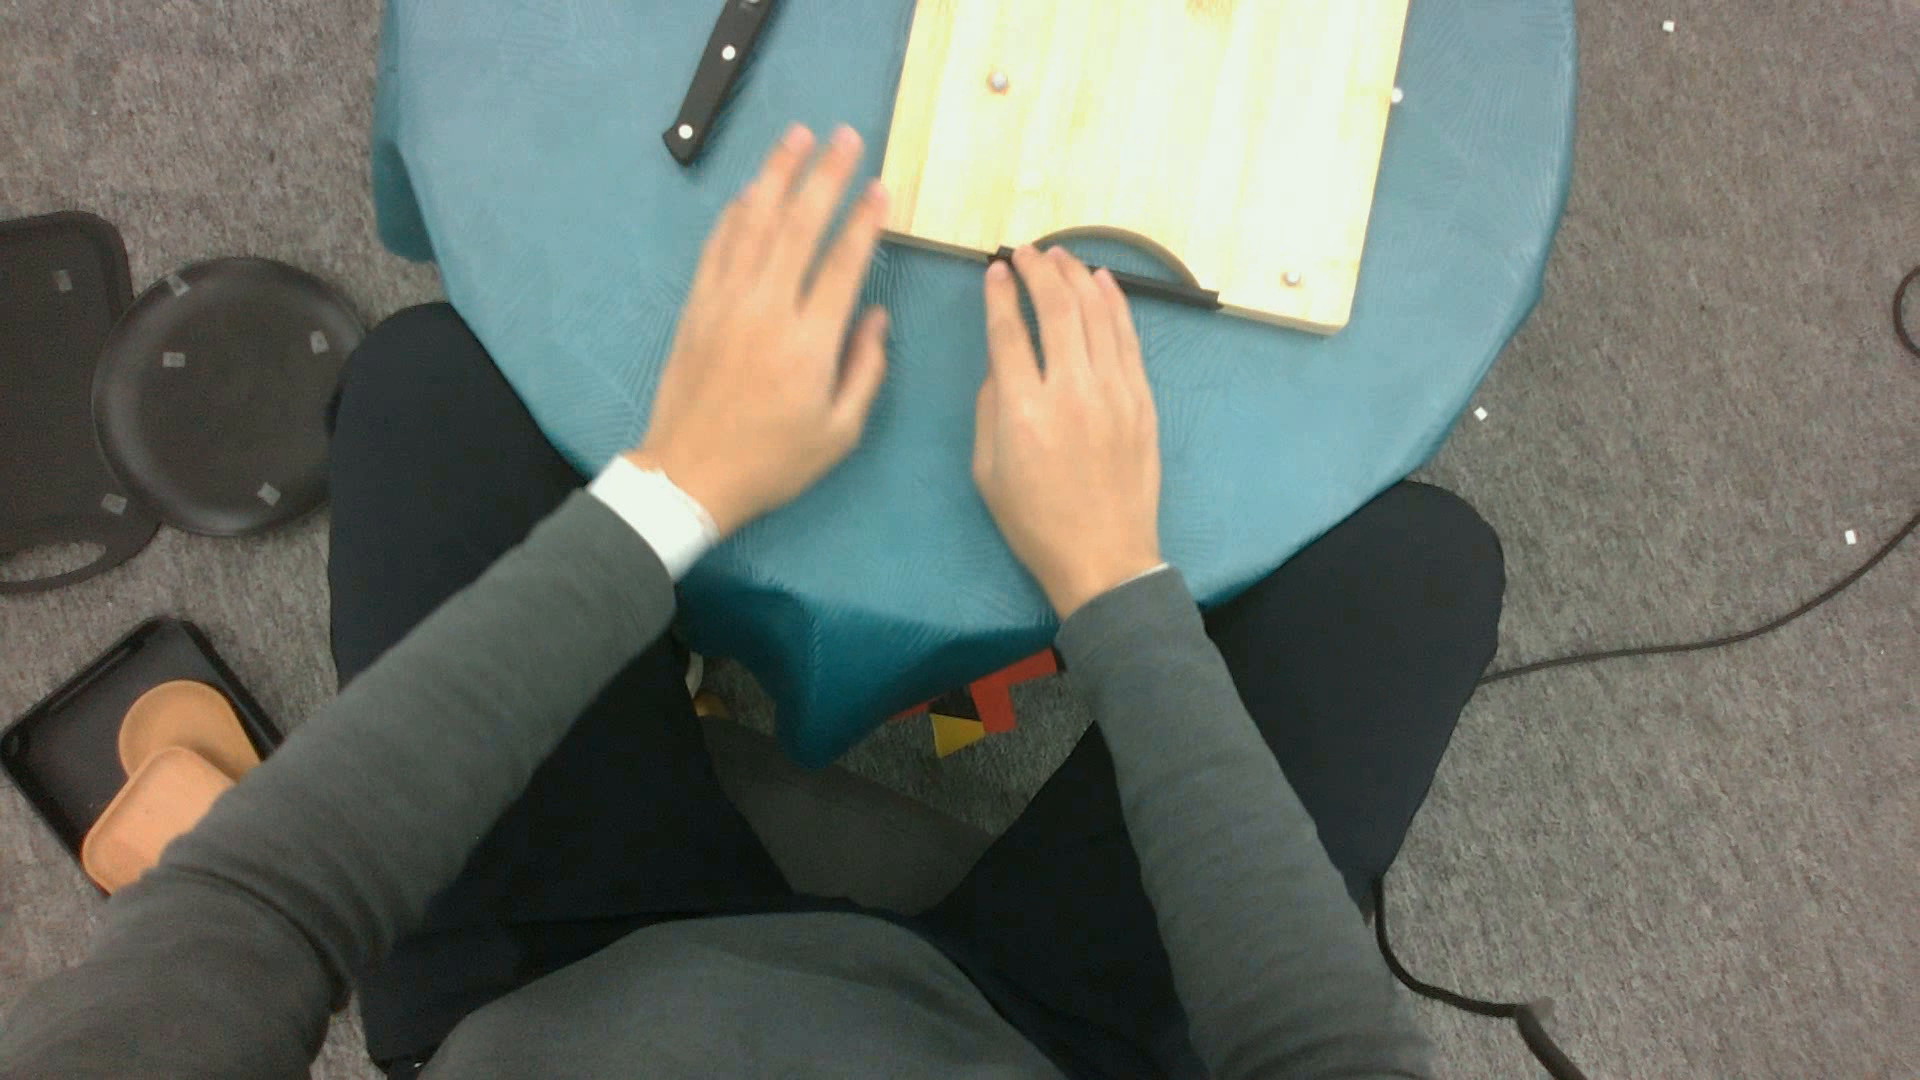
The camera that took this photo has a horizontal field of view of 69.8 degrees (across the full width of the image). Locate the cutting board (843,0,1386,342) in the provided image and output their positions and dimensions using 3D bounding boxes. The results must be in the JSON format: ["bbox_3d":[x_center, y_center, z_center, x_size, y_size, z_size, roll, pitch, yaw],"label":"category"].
[{"bbox_3d":[0.096,-0.292,0.703,0.251,0.023,0.349,11,84,-2],"label":"cutting board"}]

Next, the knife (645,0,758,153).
[{"bbox_3d":[-0.097,-0.296,0.693,0.024,0.016,0.238,25,81,-3],"label":"knife"}]
